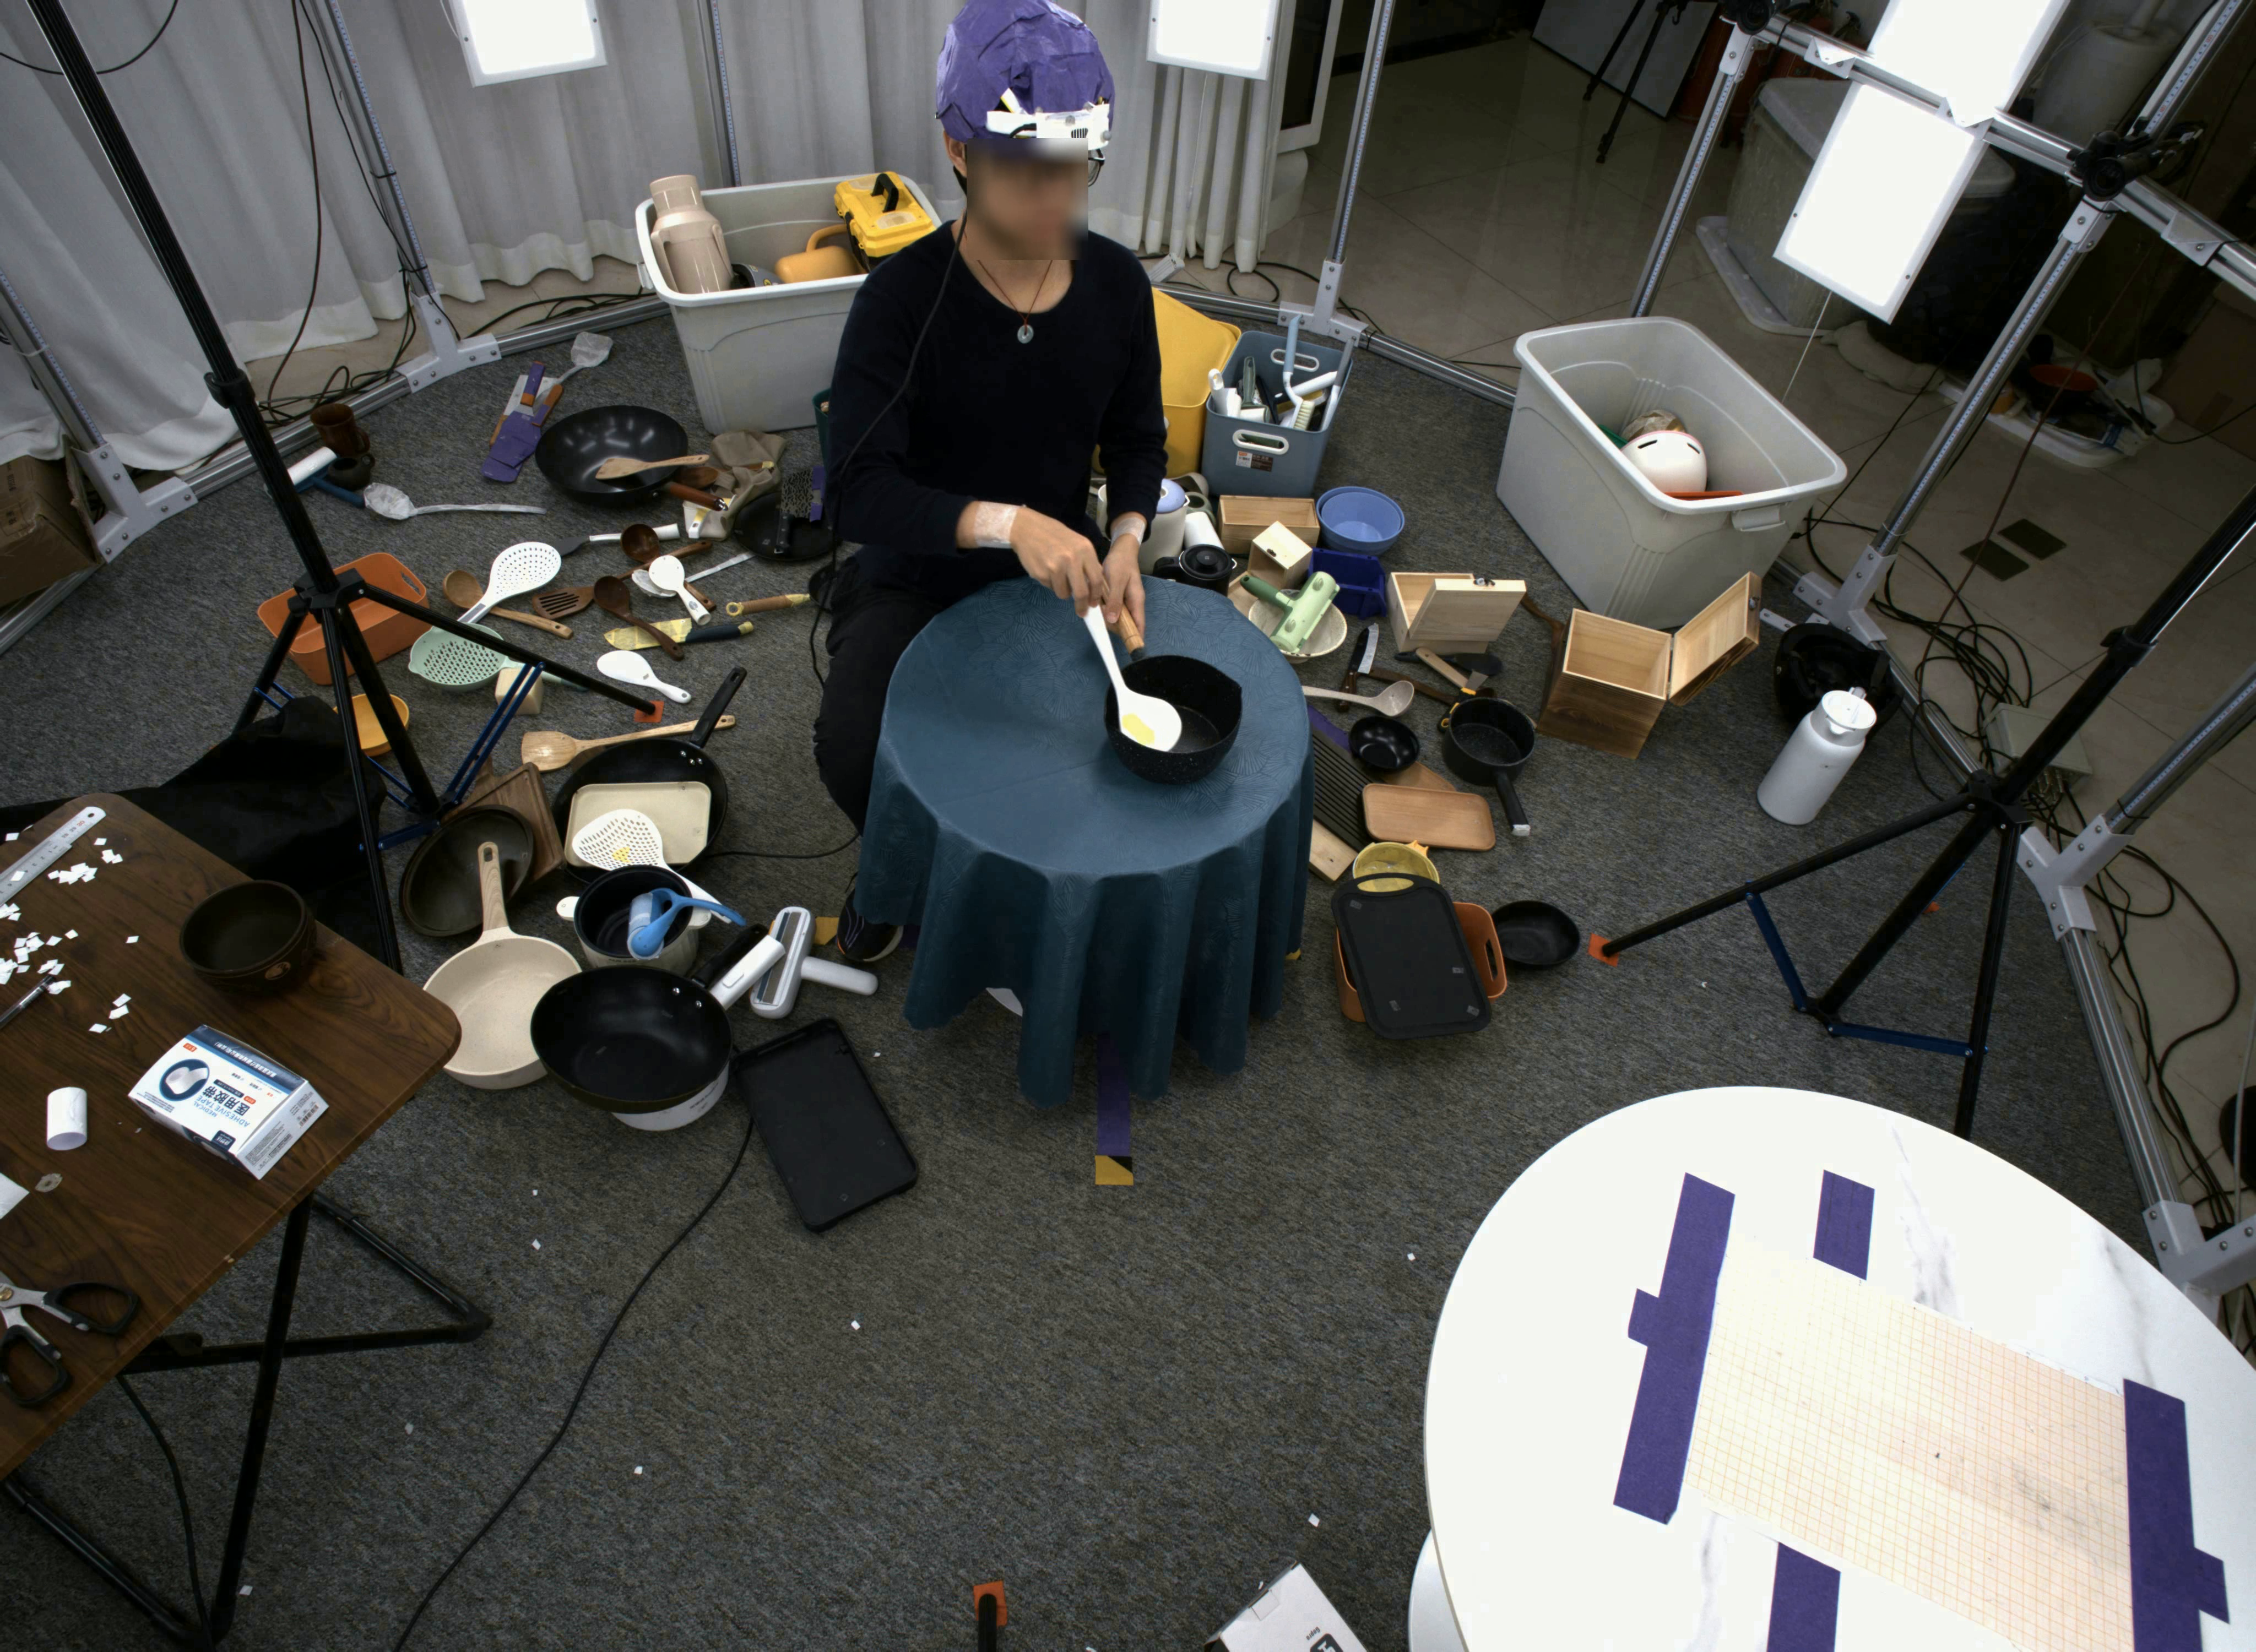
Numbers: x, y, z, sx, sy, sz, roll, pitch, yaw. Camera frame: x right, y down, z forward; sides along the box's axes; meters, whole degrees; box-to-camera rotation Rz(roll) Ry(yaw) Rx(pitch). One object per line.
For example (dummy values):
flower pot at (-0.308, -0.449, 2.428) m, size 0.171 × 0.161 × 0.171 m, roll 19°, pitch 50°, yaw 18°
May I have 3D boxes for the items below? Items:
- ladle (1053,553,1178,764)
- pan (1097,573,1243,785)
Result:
ladle at (-0.019, -0.212, 1.640) m, size 0.090 × 0.286 × 0.071 m, roll -35°, pitch 34°, yaw -17°
pan at (0.027, -0.204, 1.777) m, size 0.208 × 0.105 × 0.350 m, roll -17°, pitch 54°, yaw -17°
